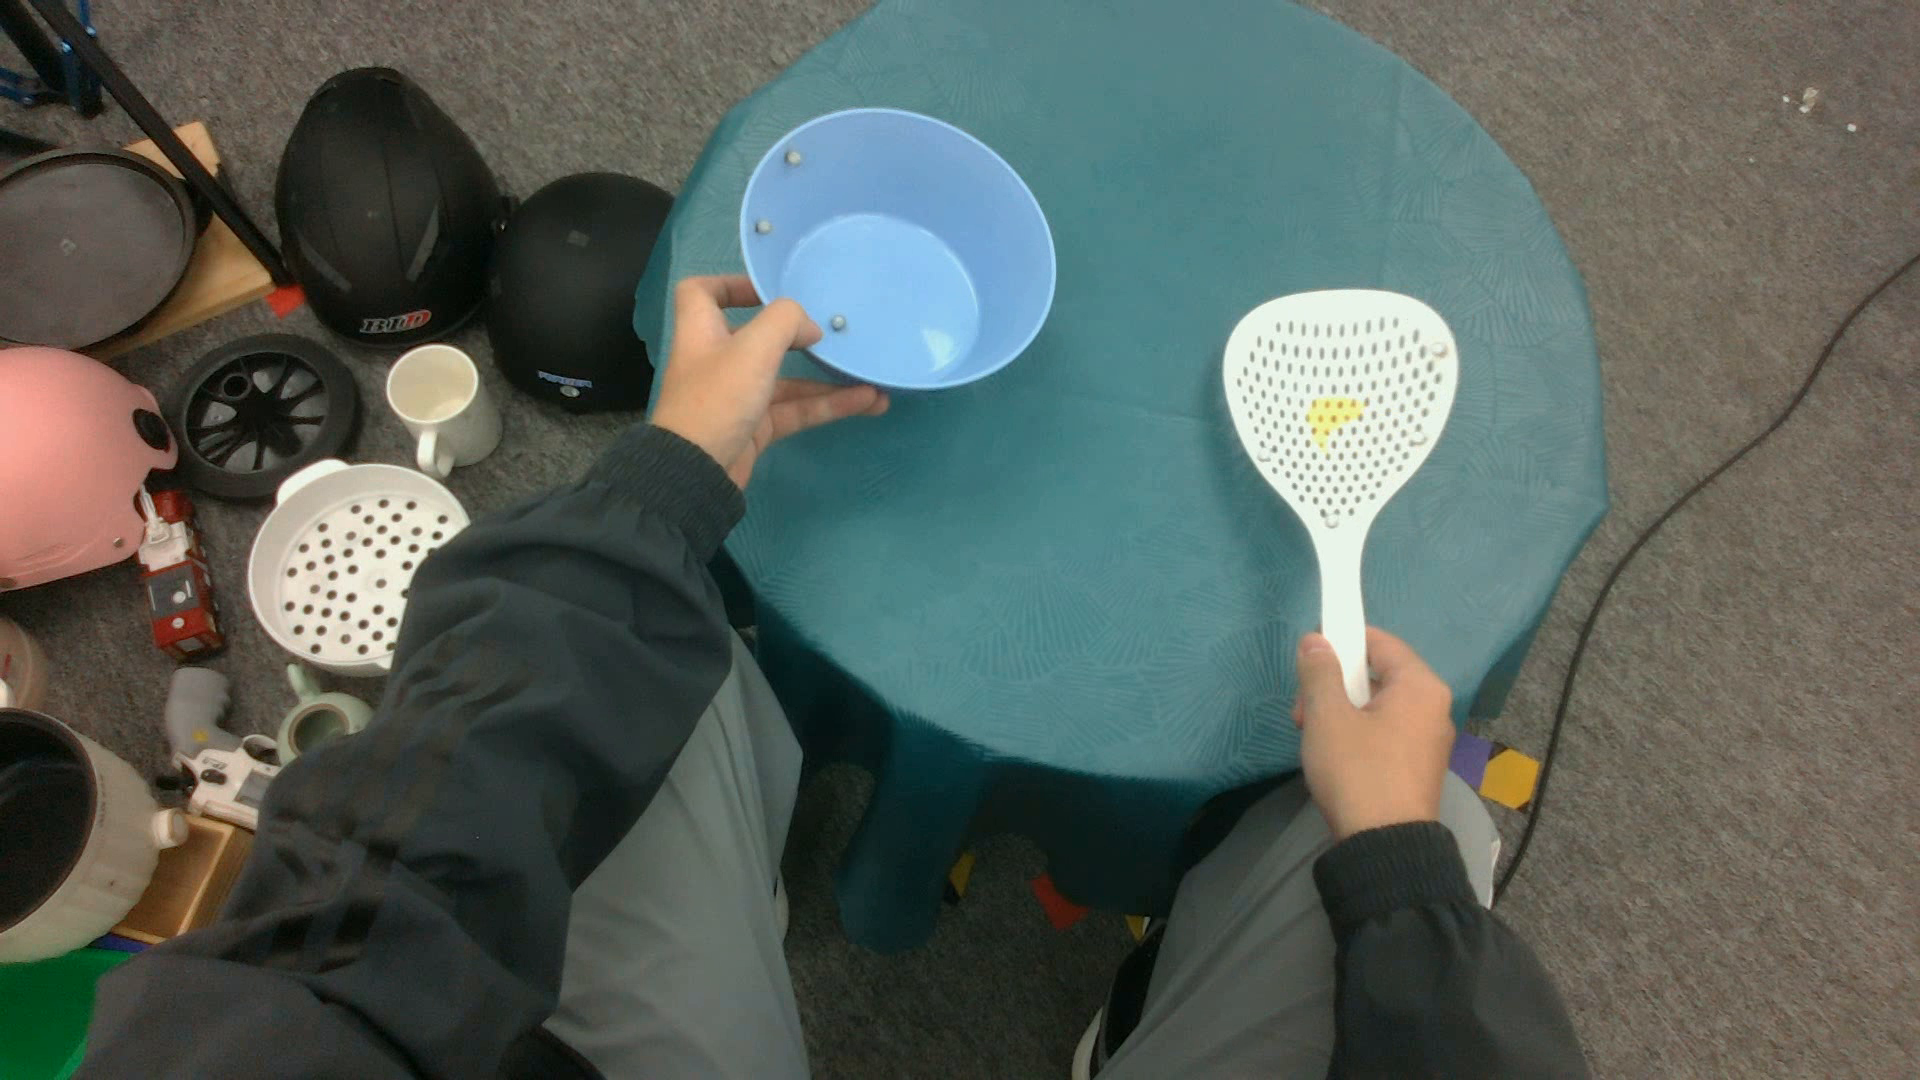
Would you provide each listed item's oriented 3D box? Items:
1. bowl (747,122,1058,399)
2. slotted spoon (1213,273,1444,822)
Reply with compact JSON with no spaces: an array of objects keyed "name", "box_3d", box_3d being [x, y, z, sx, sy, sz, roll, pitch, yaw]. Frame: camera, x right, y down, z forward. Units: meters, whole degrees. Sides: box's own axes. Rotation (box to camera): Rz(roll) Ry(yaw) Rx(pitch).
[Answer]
[{"name":"bowl","box_3d":[-0.037,-0.148,0.792,0.176,0.070,0.176,5,67,-12]},{"name":"slotted spoon","box_3d":[0.219,-0.011,0.791,0.137,0.050,0.349,-1,56,8]}]
